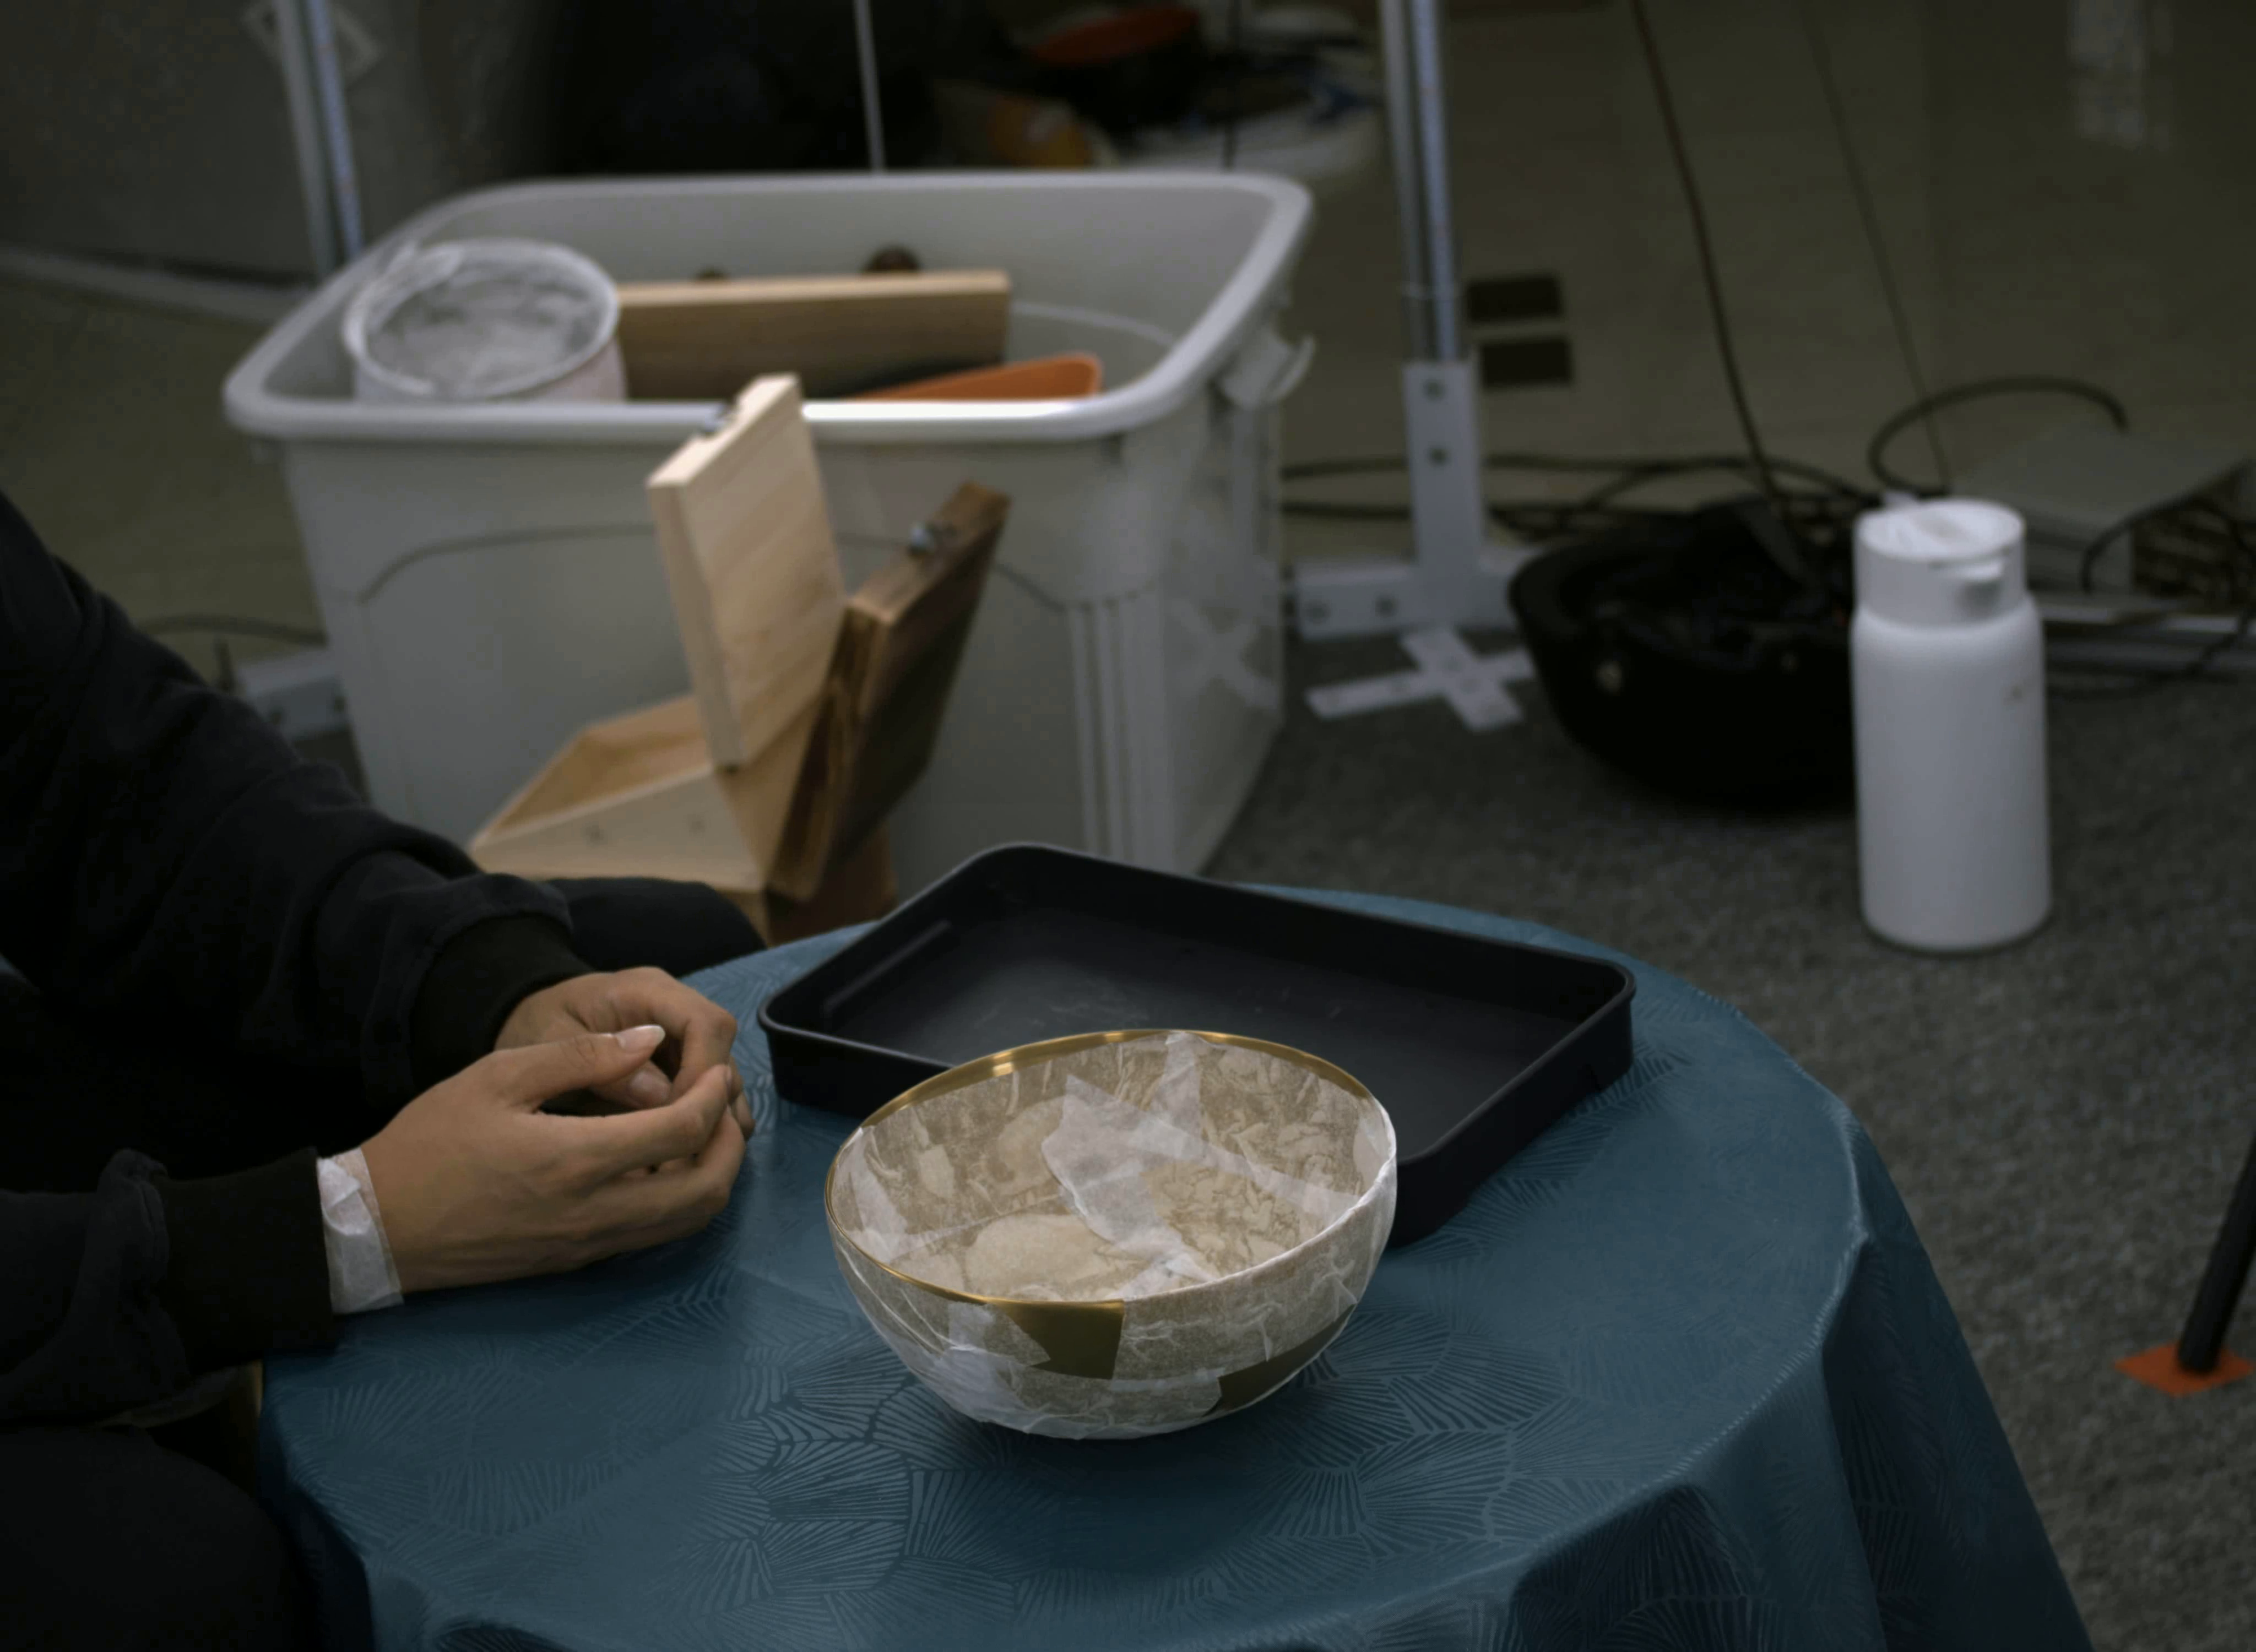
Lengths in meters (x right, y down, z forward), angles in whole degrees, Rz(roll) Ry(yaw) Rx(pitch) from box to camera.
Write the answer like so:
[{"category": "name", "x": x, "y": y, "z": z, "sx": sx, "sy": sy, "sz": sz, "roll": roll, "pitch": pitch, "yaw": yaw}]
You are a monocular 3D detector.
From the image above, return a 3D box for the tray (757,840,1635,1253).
[{"category": "tray", "x": 0.026, "y": 0.083, "z": 2.227, "sx": 0.316, "sy": 0.037, "sz": 0.182, "roll": 13, "pitch": 31, "yaw": 34}]

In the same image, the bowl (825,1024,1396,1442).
[{"category": "bowl", "x": -0.004, "y": 0.155, "z": 2.008, "sx": 0.214, "sy": 0.096, "sz": 0.211, "roll": -5, "pitch": 26, "yaw": 3}]
